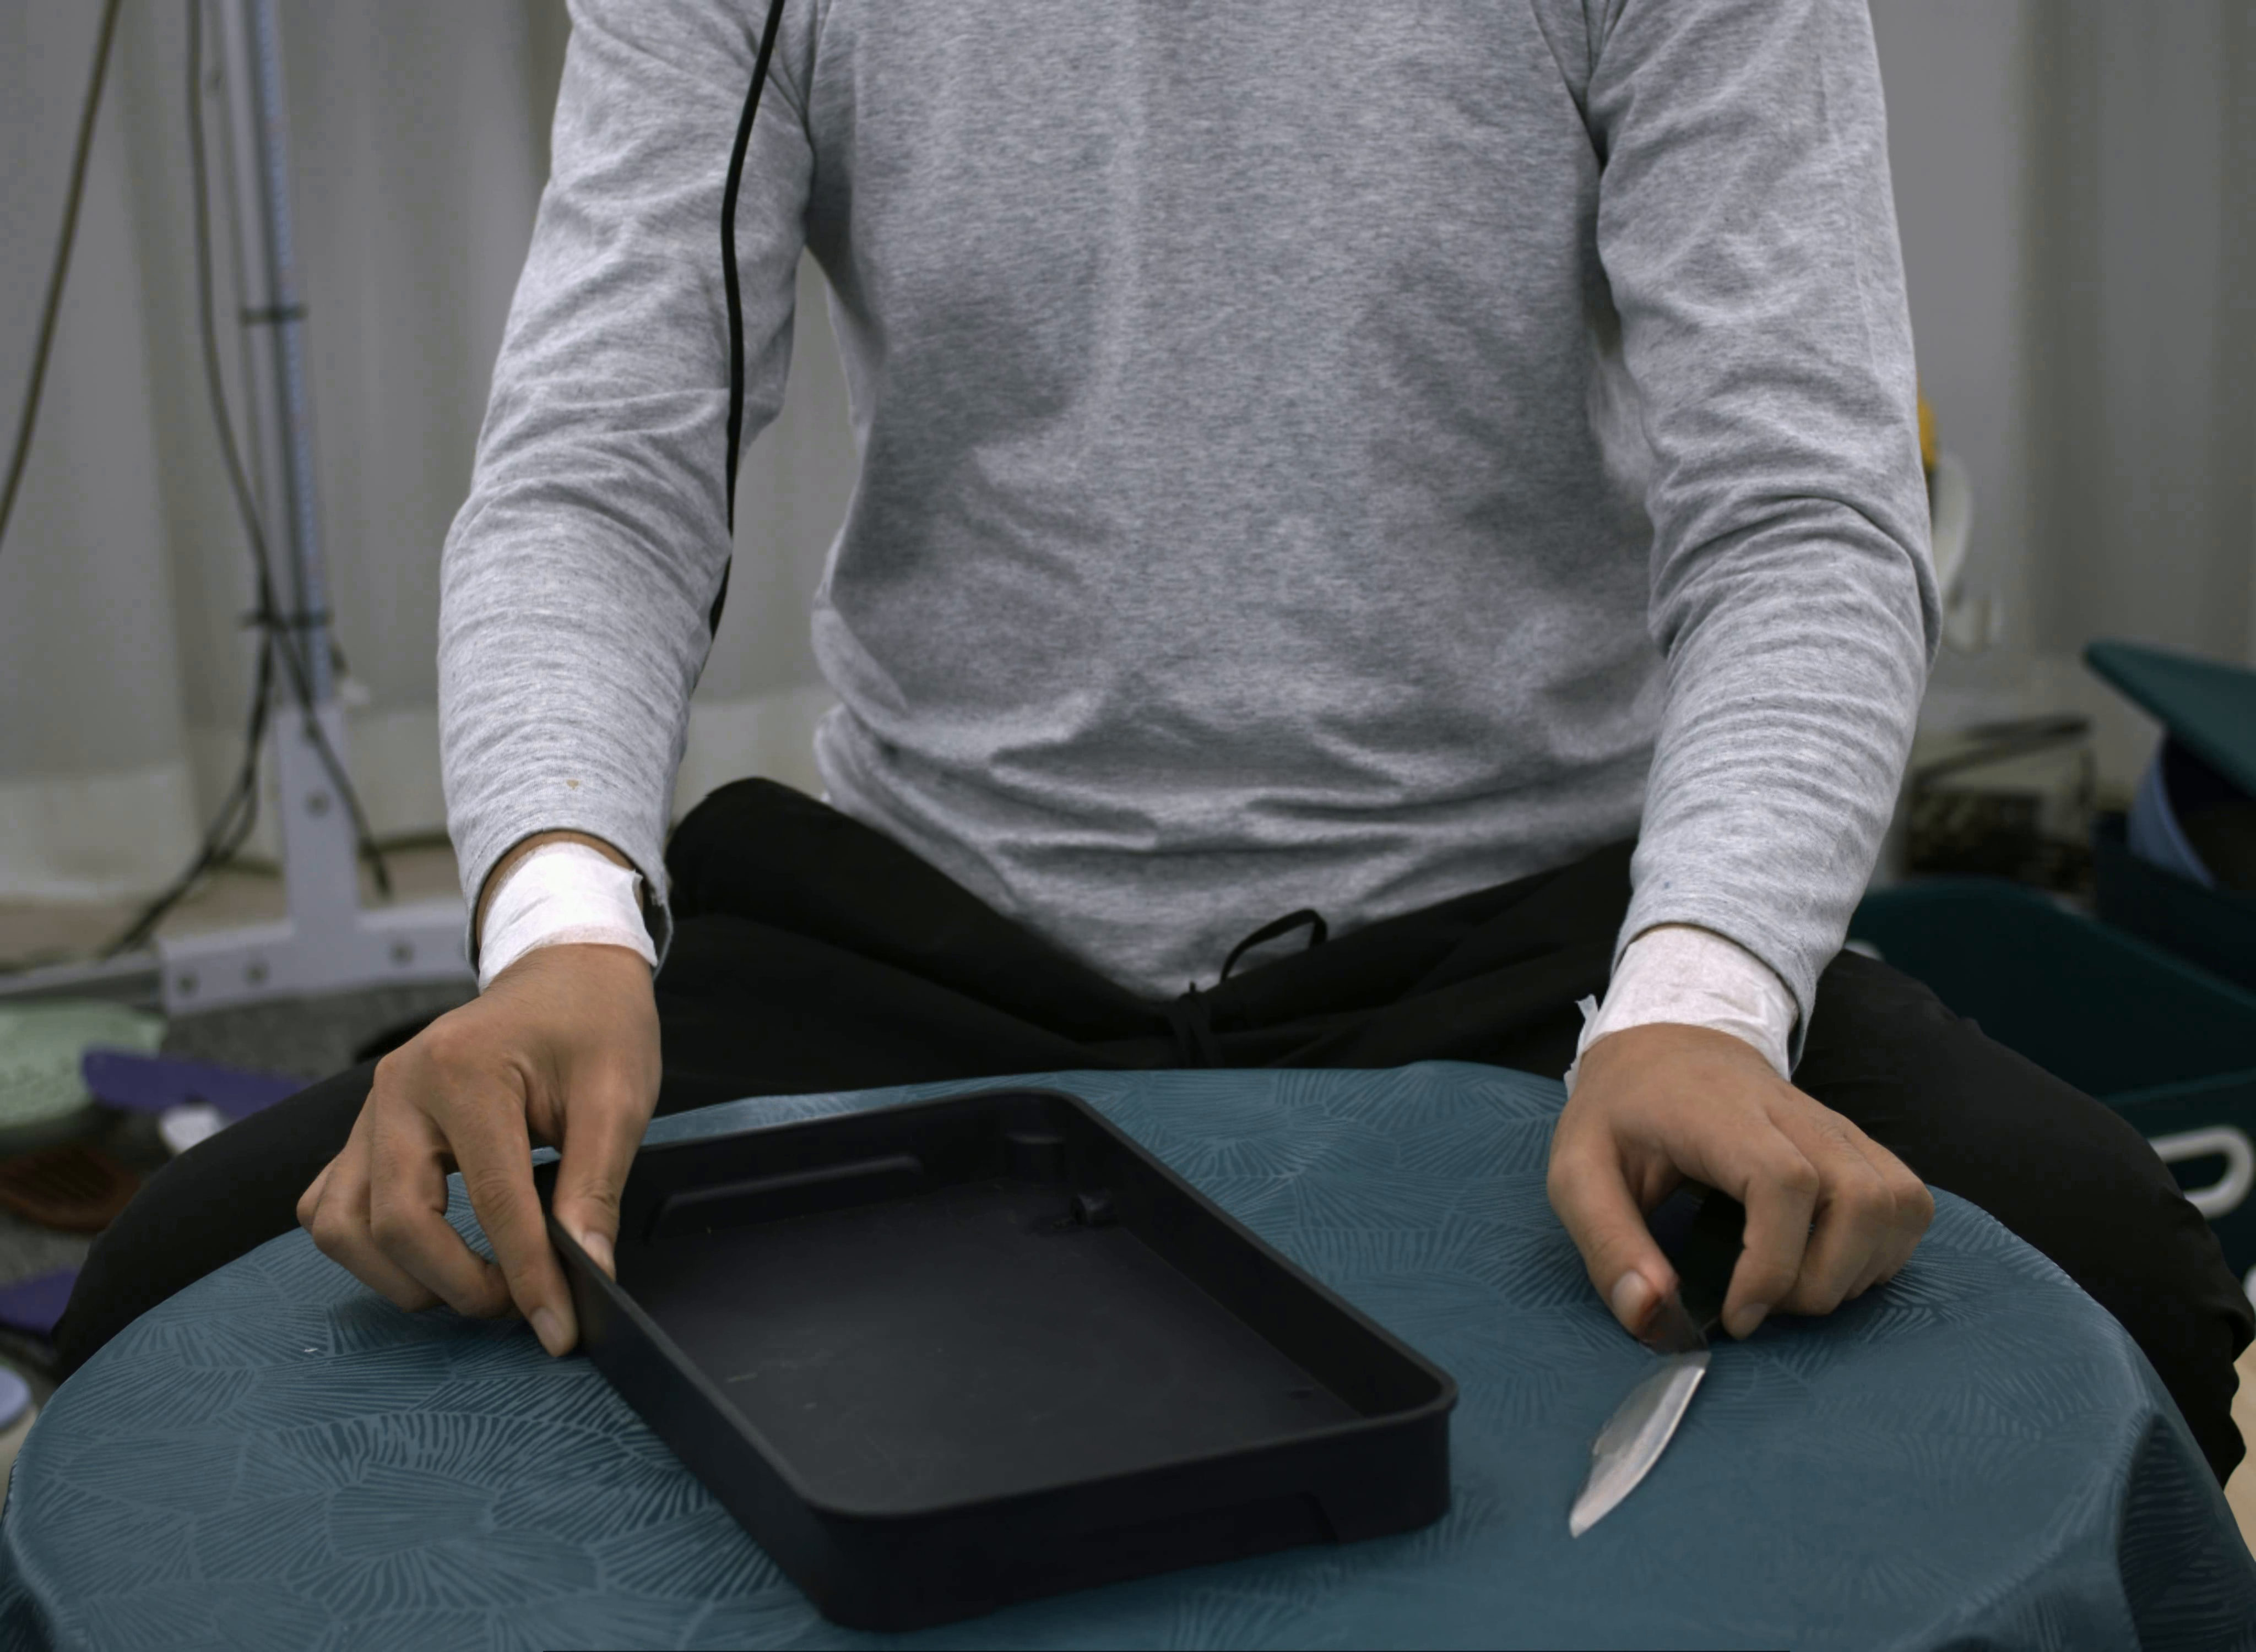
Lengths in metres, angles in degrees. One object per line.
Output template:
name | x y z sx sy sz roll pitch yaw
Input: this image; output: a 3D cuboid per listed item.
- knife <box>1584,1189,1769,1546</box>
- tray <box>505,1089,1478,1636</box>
knife | 0.151 0.151 1.532 0.024 0.016 0.239 2 19 16
tray | -0.046 0.144 1.542 0.183 0.037 0.320 -9 16 -22
